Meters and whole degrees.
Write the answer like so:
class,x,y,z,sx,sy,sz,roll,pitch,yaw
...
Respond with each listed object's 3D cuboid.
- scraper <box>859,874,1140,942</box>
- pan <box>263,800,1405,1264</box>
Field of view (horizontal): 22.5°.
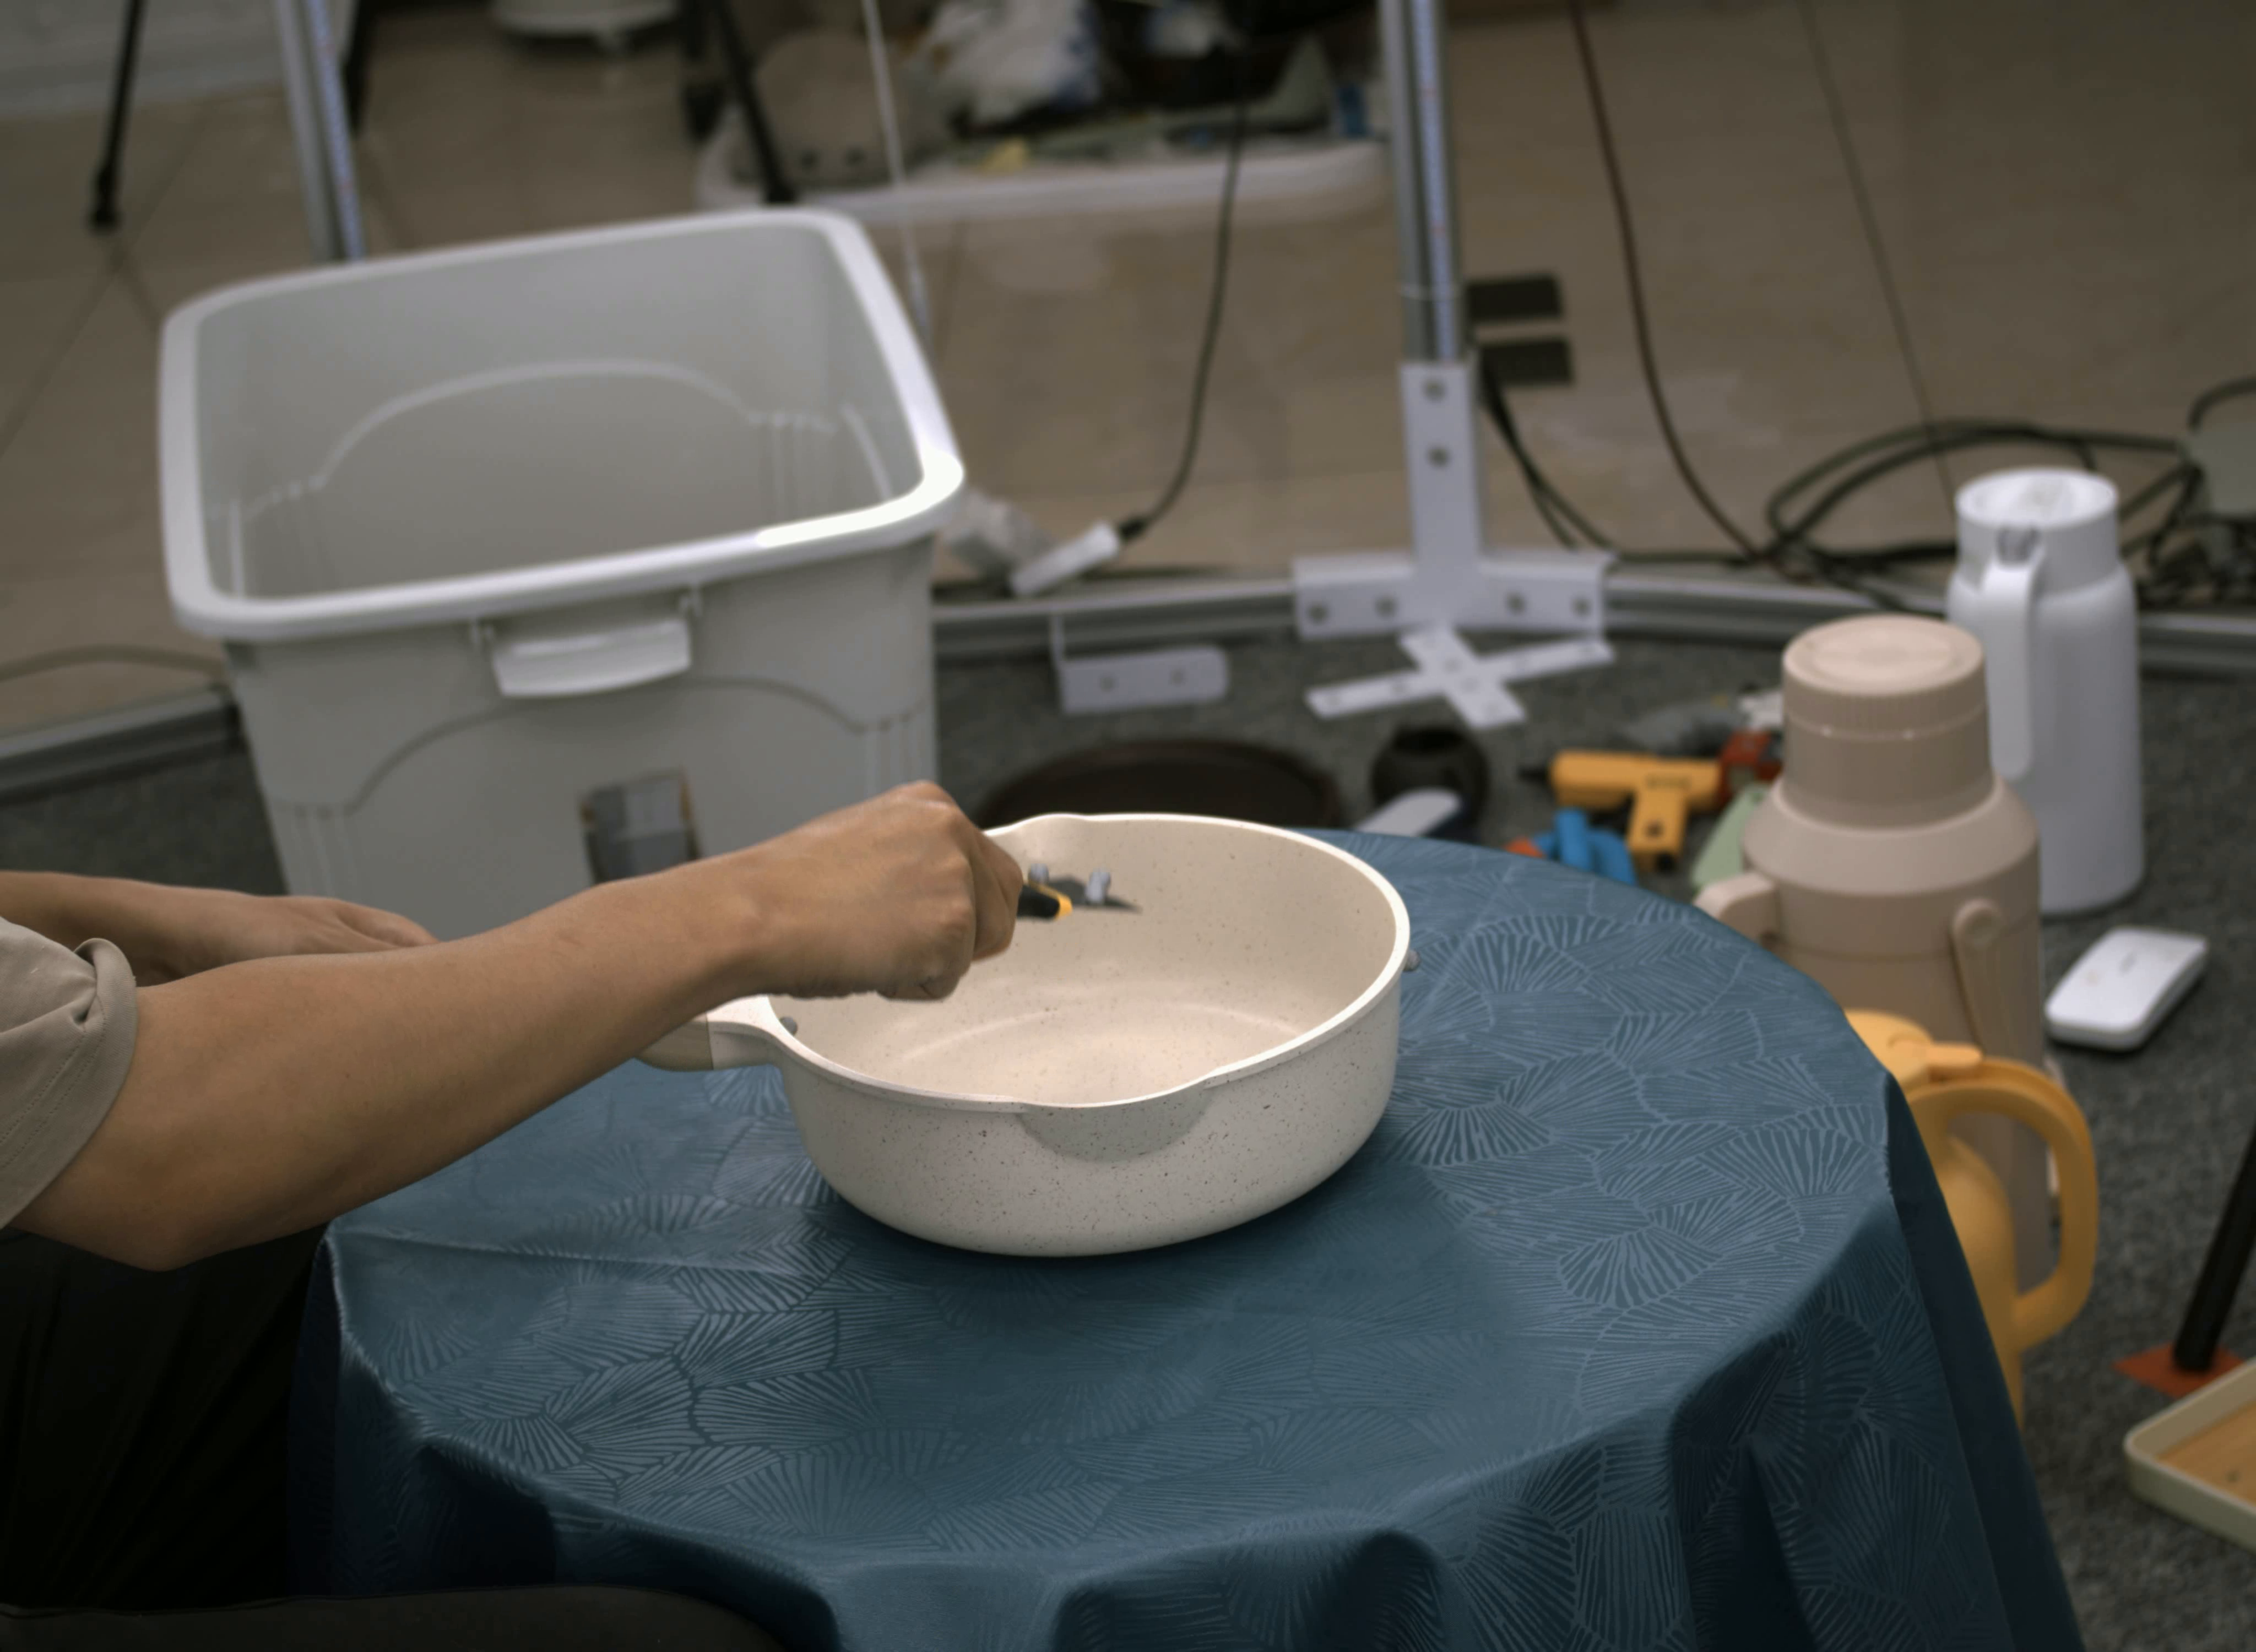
class,x,y,z,sx,sy,sz,roll,pitch,yaw
scraper,-0.048,0.029,2.096,0.038,0.015,0.171,32,15,25
pan,-0.107,0.089,2.172,0.434,0.104,0.259,-8,28,-4
